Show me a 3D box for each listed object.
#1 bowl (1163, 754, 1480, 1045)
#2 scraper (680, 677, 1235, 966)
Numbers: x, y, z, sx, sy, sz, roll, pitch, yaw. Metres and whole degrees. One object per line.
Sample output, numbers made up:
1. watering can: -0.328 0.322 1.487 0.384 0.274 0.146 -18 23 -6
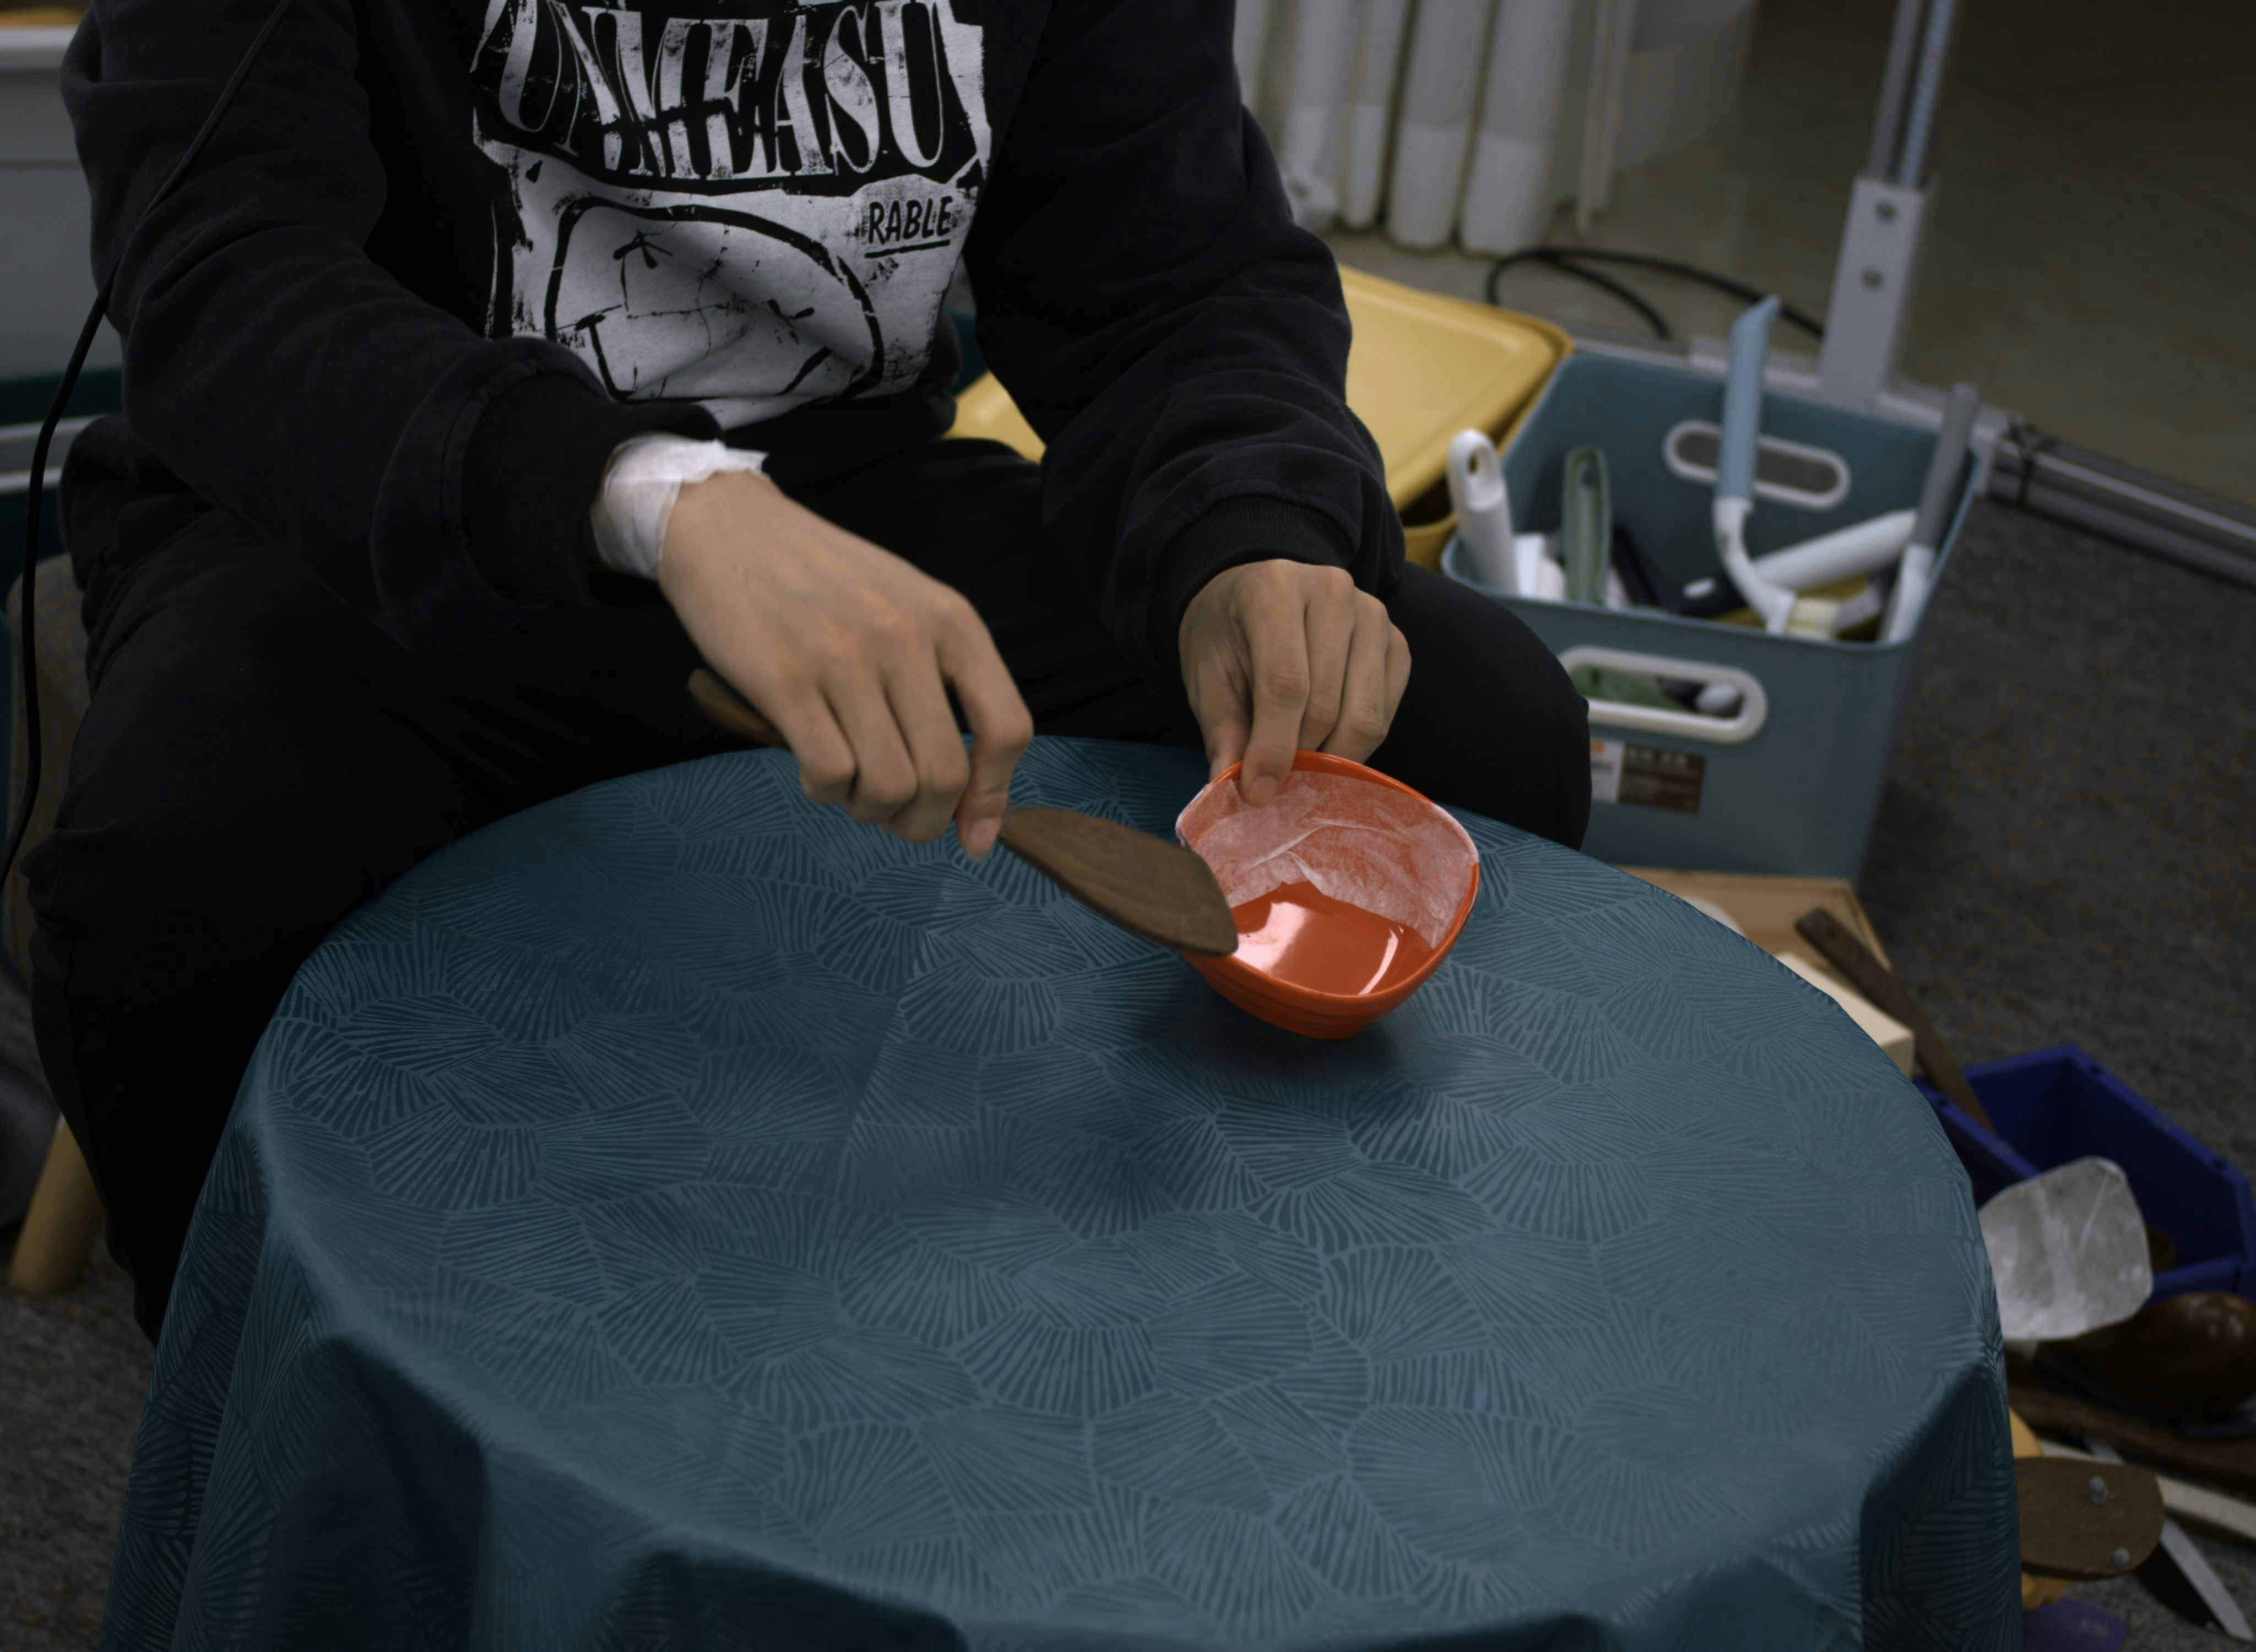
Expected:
1. bowl: 0.066 0.034 1.915 0.118 0.051 0.120 3 49 -3
2. scraper: -0.058 -0.005 1.793 0.209 0.011 0.076 24 22 -21
